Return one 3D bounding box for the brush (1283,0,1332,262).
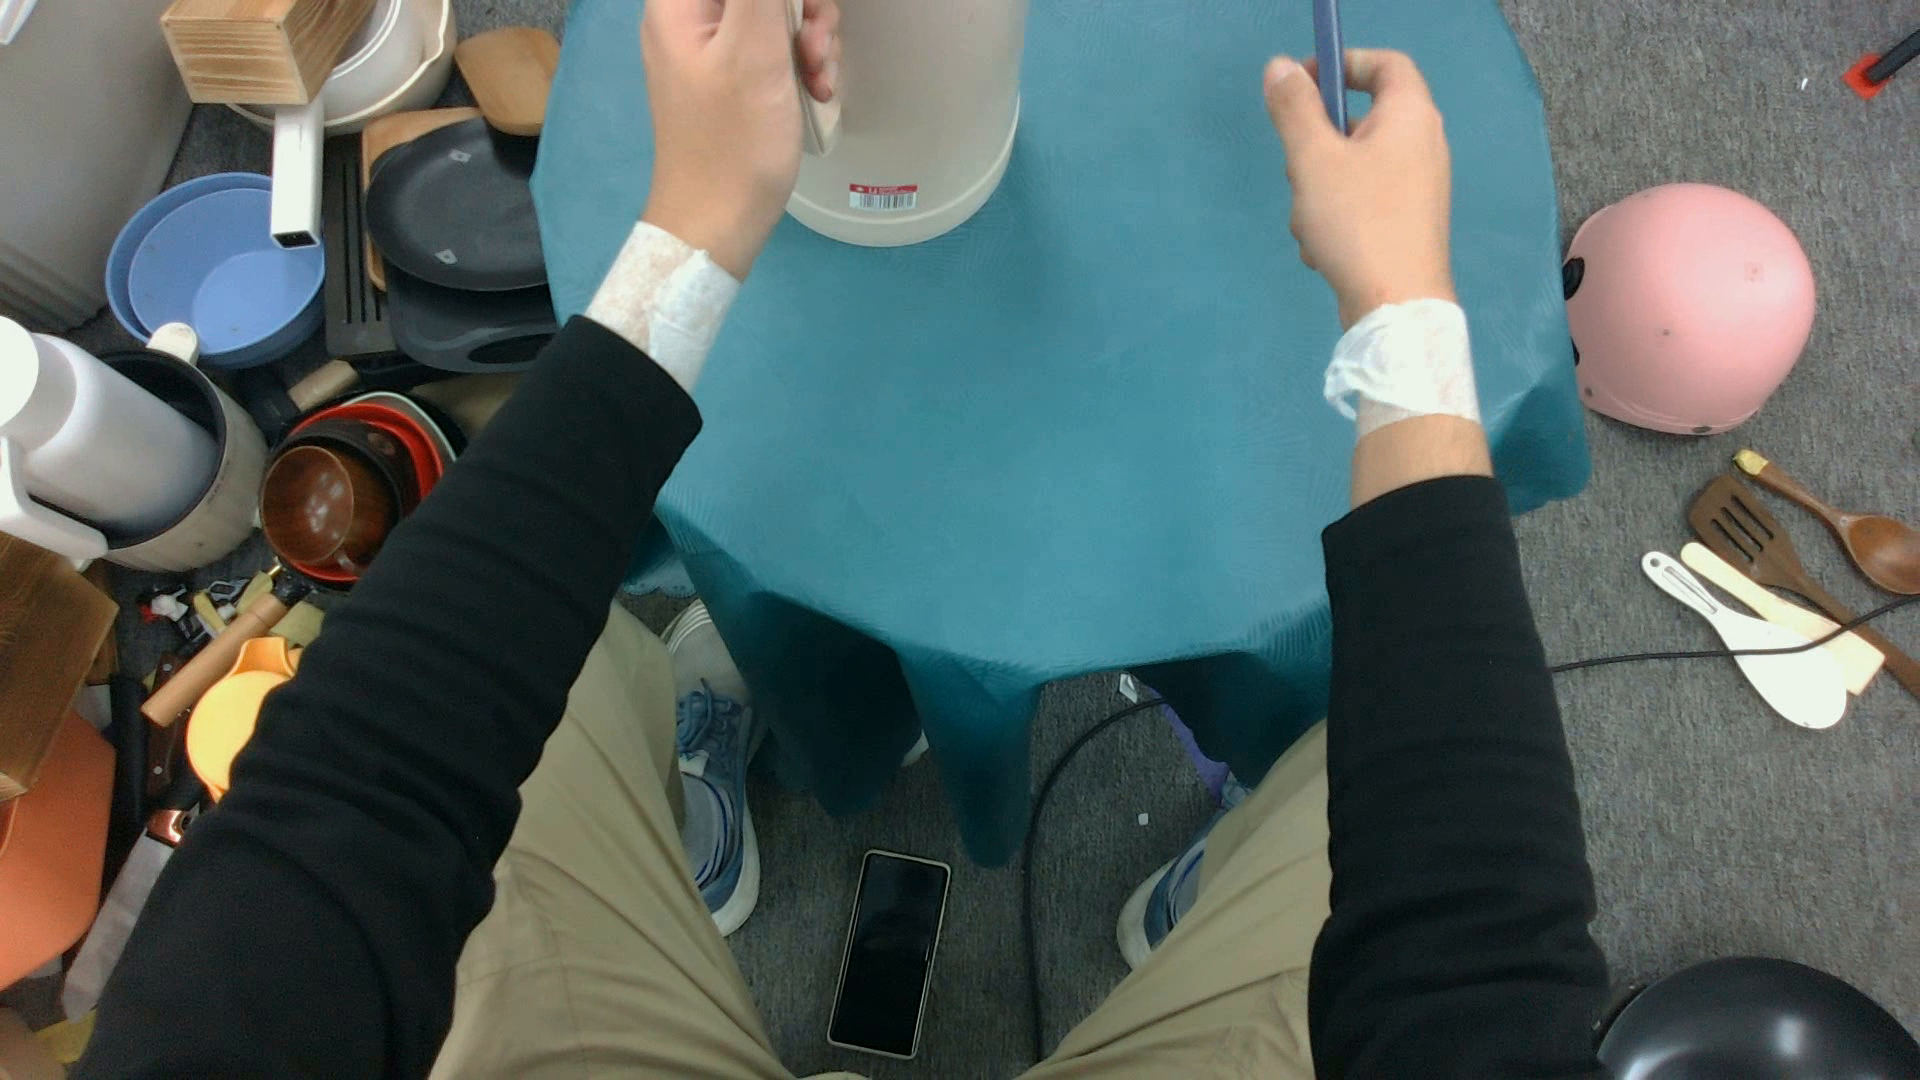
[{"bbox_3d":[0.177,-0.270,0.656,0.095,0.033,0.273,-9,78,17],"label":"brush"}]

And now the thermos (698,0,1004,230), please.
[{"bbox_3d":[-0.055,-0.287,0.615,0.175,0.405,0.207,19,75,0],"label":"thermos"}]
